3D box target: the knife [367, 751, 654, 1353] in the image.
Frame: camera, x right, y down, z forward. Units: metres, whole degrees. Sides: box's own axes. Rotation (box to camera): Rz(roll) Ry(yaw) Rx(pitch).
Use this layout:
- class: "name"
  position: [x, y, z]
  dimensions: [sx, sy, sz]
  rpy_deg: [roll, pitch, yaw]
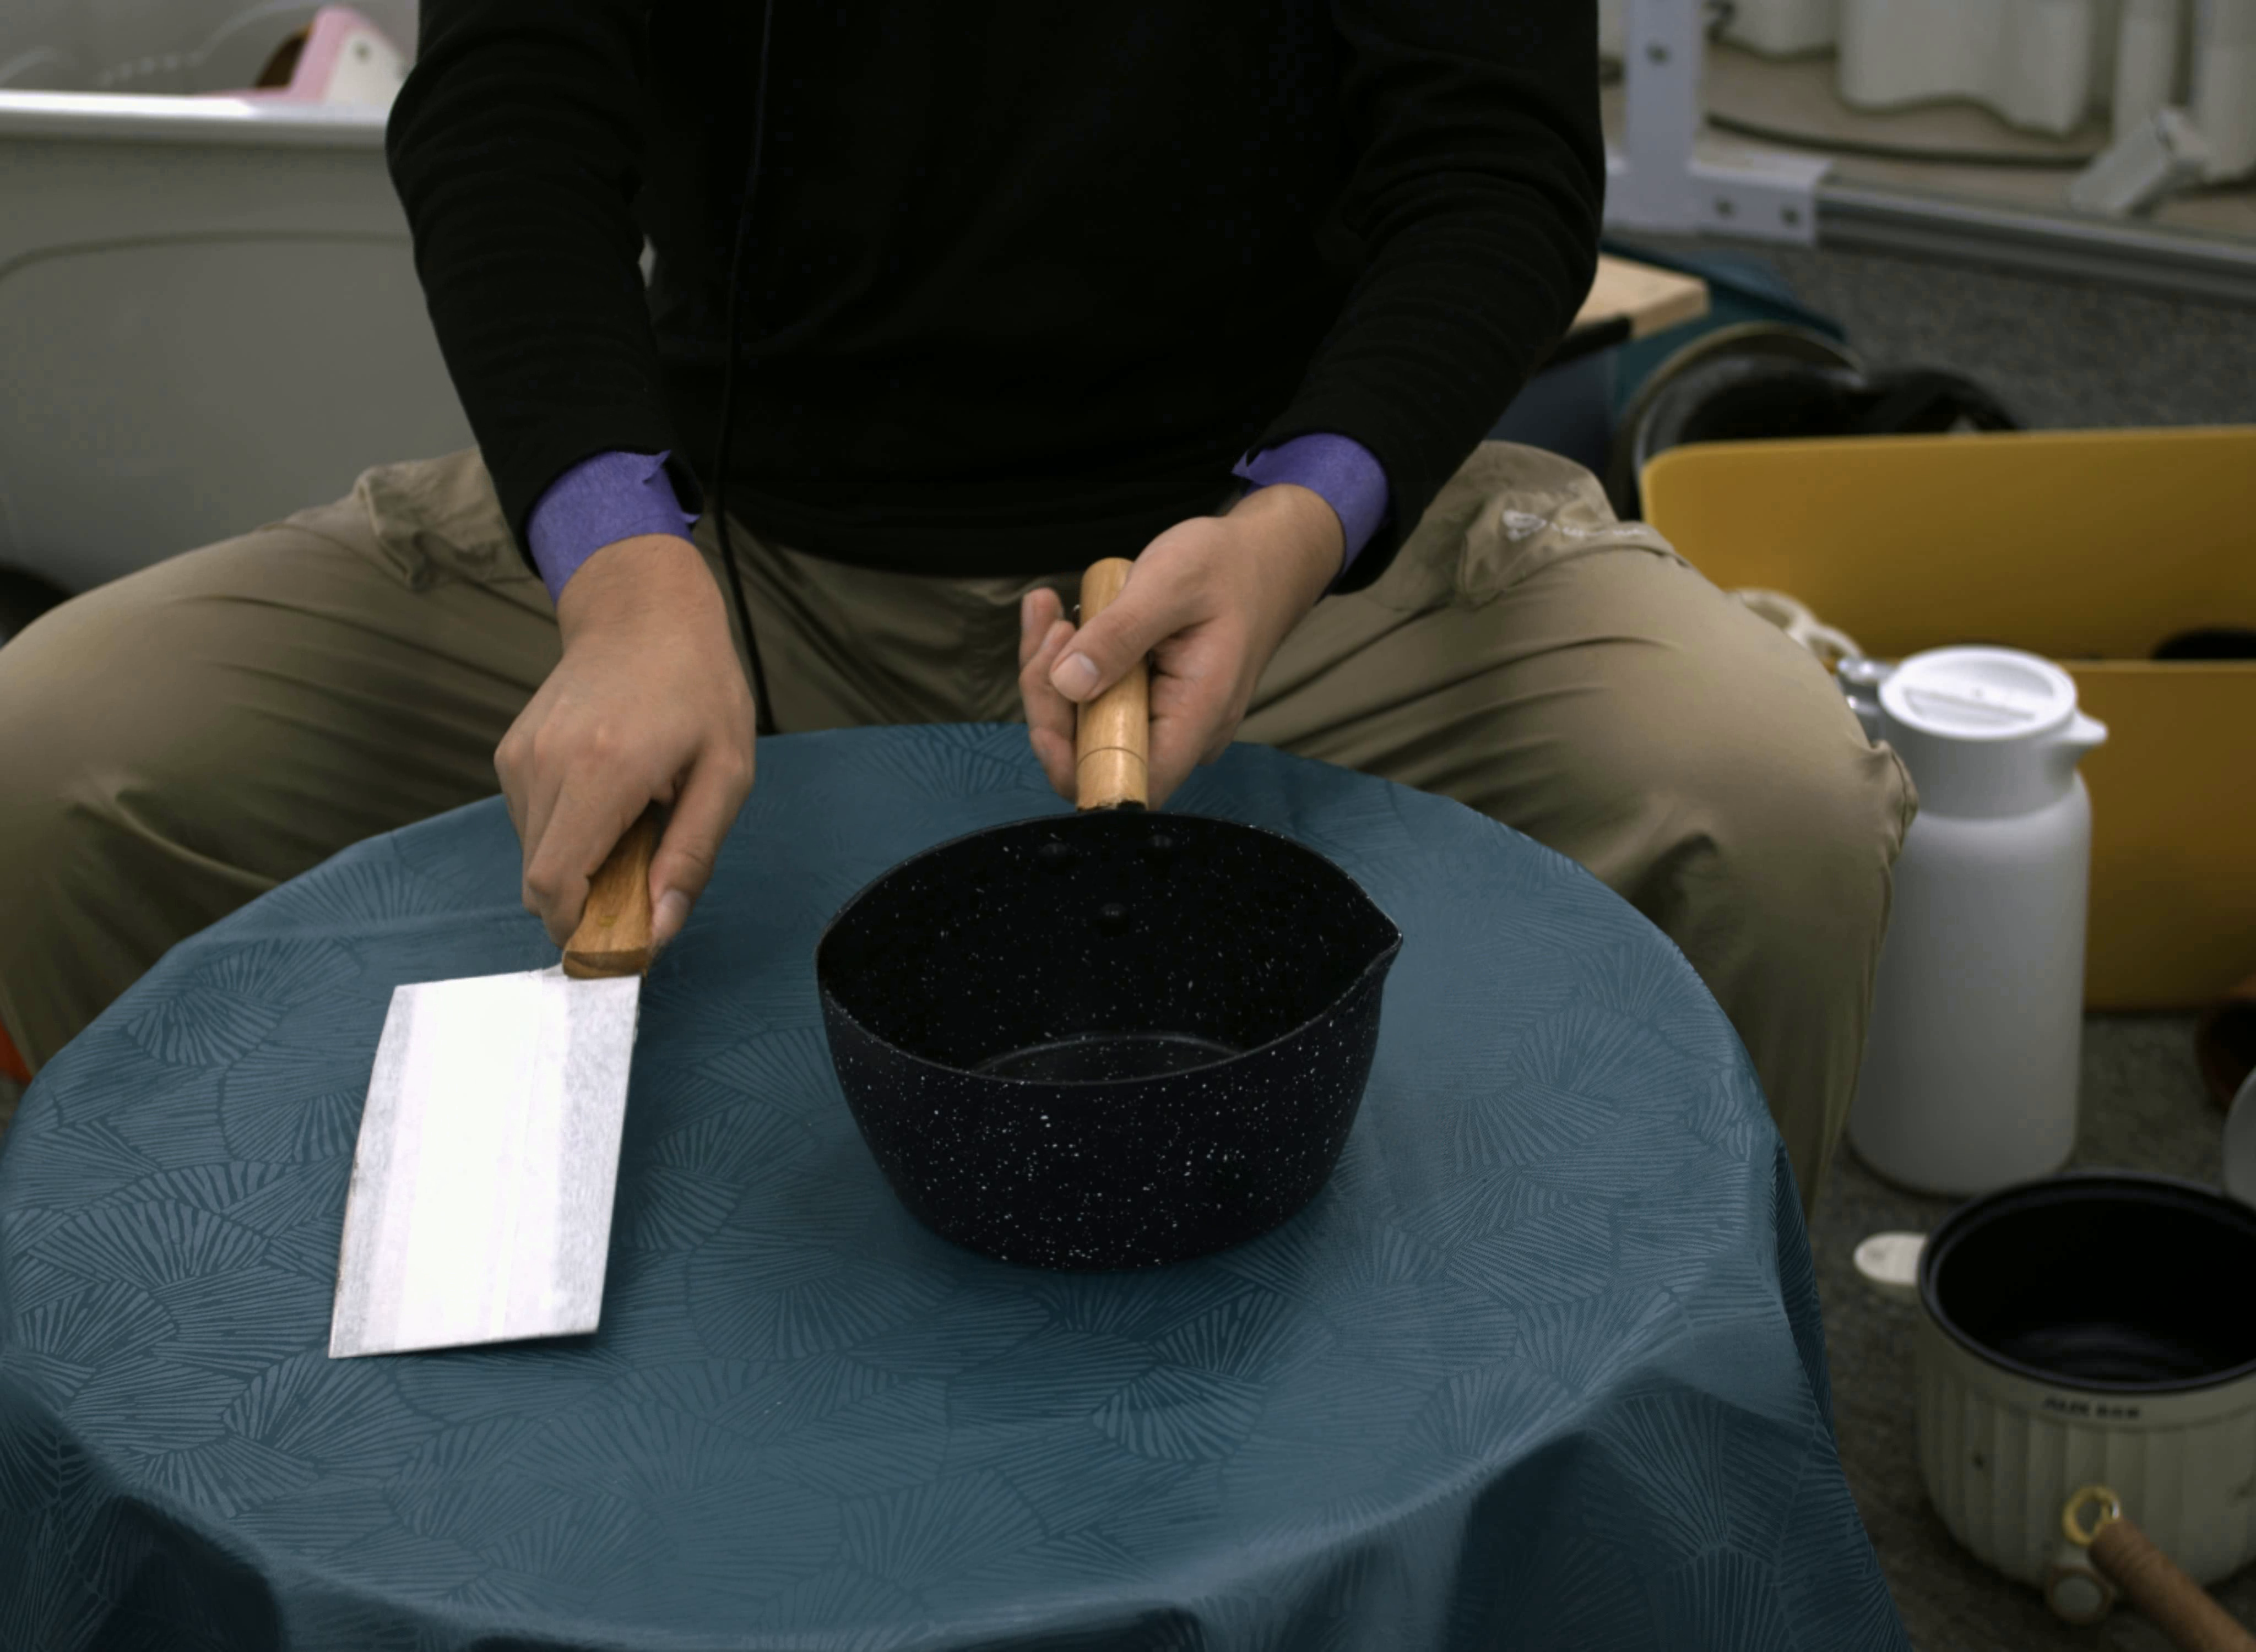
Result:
- class: "knife"
  position: [-0.210, 0.074, 1.909]
  dimensions: [0.092, 0.021, 0.311]
  rpy_deg: [-7, 36, 6]

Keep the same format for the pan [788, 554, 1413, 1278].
- class: "pan"
  position: [-0.008, 0.027, 1.928]
  dimensions: [0.206, 0.107, 0.348]
  rpy_deg: [-3, 28, 1]
